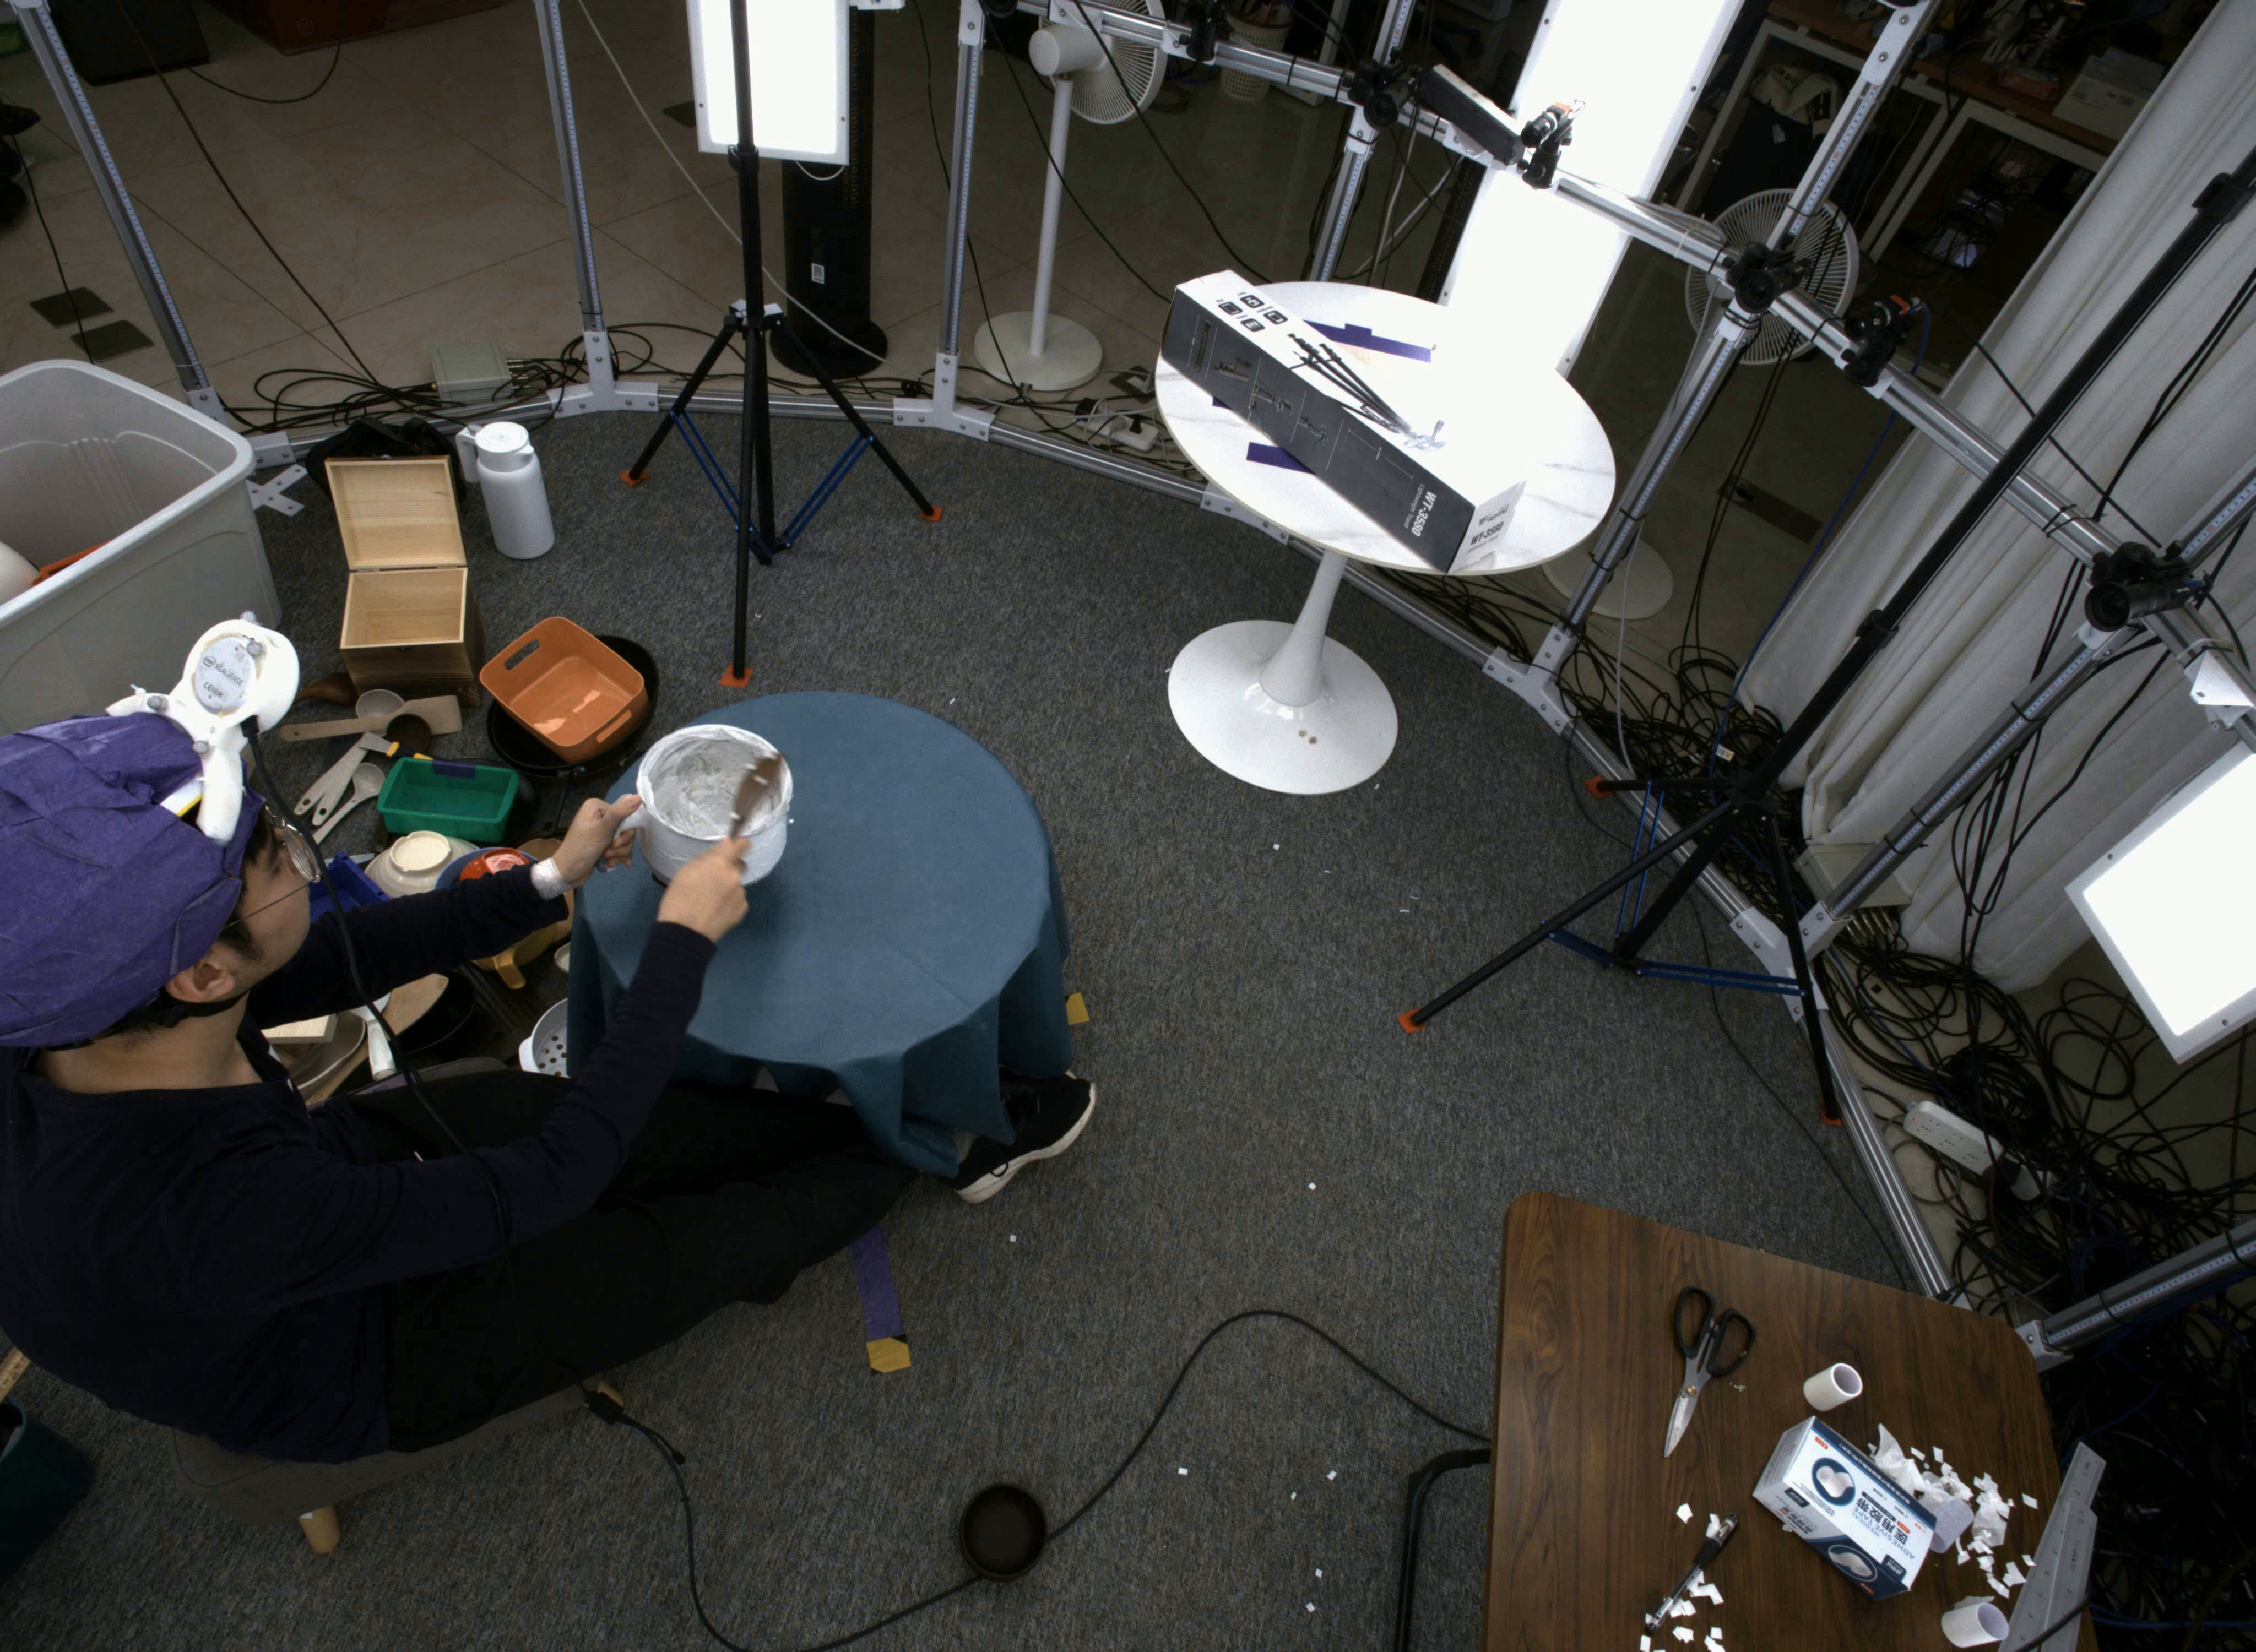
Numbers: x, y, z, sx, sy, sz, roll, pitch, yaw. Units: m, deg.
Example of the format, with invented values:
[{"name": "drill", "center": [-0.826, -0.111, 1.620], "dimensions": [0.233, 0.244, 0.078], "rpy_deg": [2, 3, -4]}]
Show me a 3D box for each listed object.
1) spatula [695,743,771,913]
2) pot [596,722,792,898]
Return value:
[{"name": "spatula", "center": [-0.440, -0.001, 1.423], "dimensions": [0.009, 0.070, 0.214], "rpy_deg": [32, 57, -33]}, {"name": "pot", "center": [-0.523, -0.010, 1.542], "dimensions": [0.236, 0.139, 0.174], "rpy_deg": [-16, 58, -32]}]
